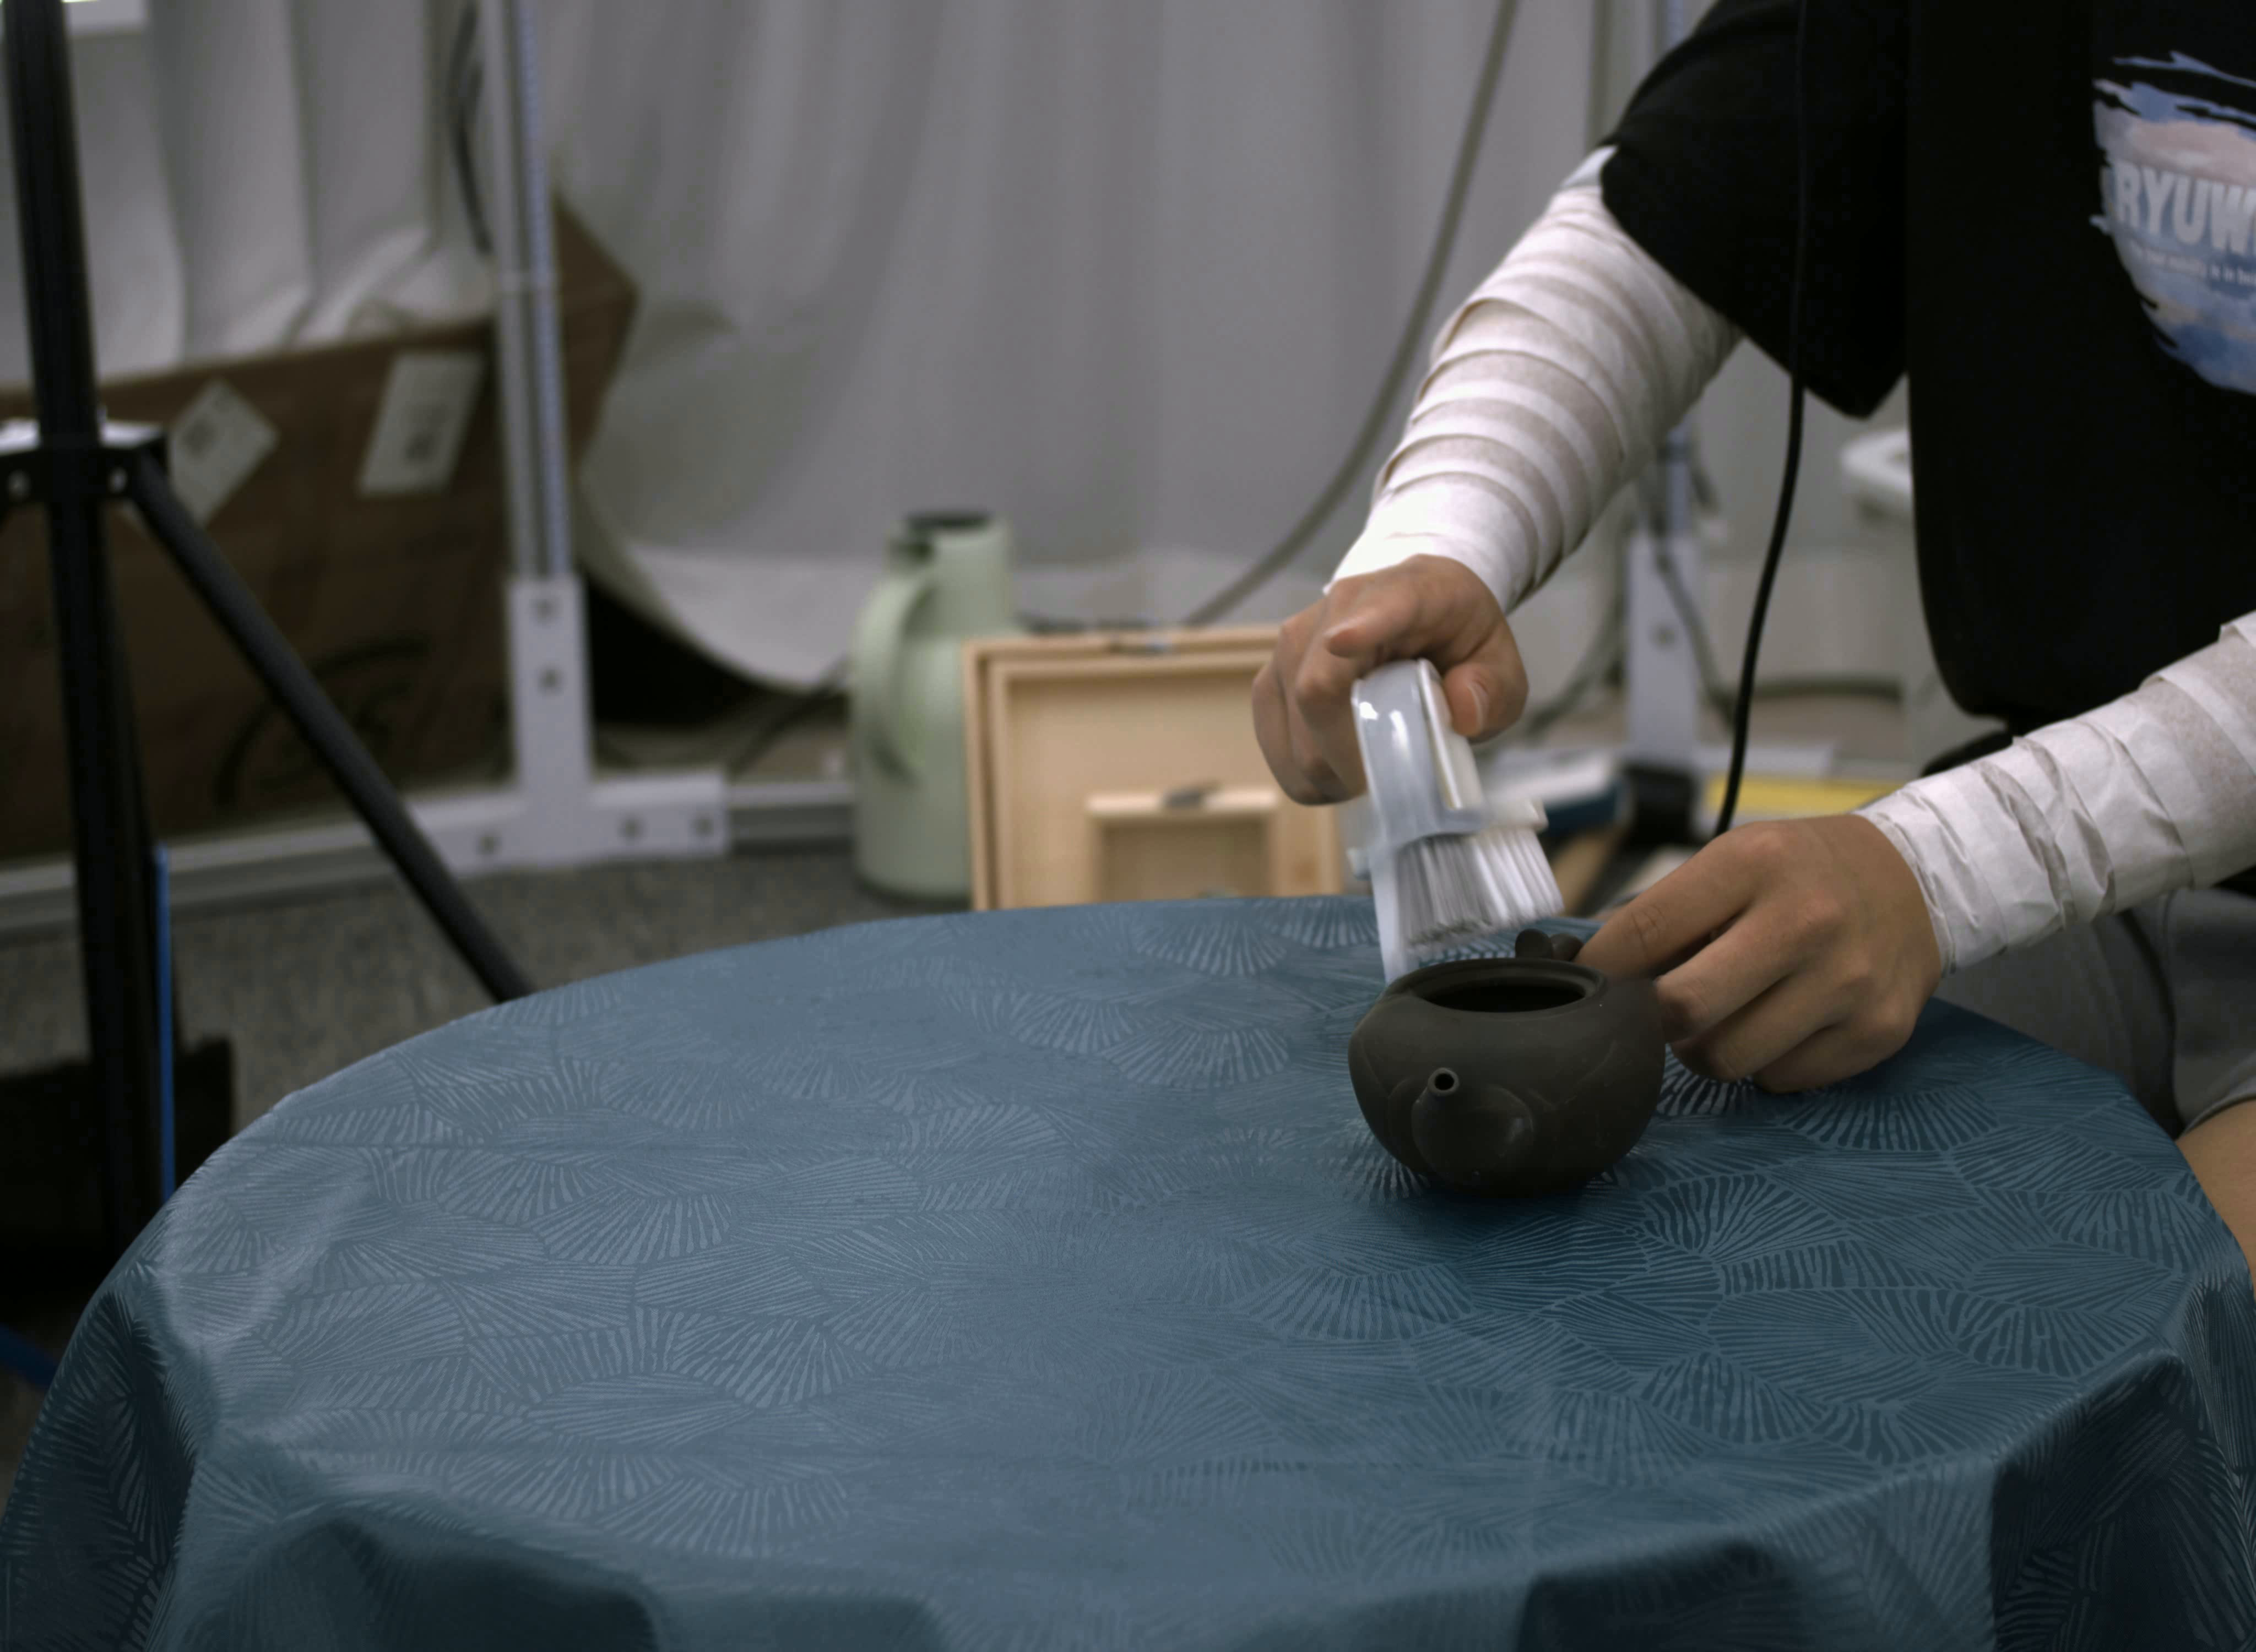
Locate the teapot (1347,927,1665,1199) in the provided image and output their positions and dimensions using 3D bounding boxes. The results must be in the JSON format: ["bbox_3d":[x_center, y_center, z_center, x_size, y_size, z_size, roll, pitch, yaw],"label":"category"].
[{"bbox_3d":[0.112,0.071,1.556,0.093,0.064,0.152,4,18,20],"label":"teapot"}]

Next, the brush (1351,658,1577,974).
[{"bbox_3d":[0.095,-0.006,1.614,0.061,0.095,0.174,-21,-3,6],"label":"brush"}]
